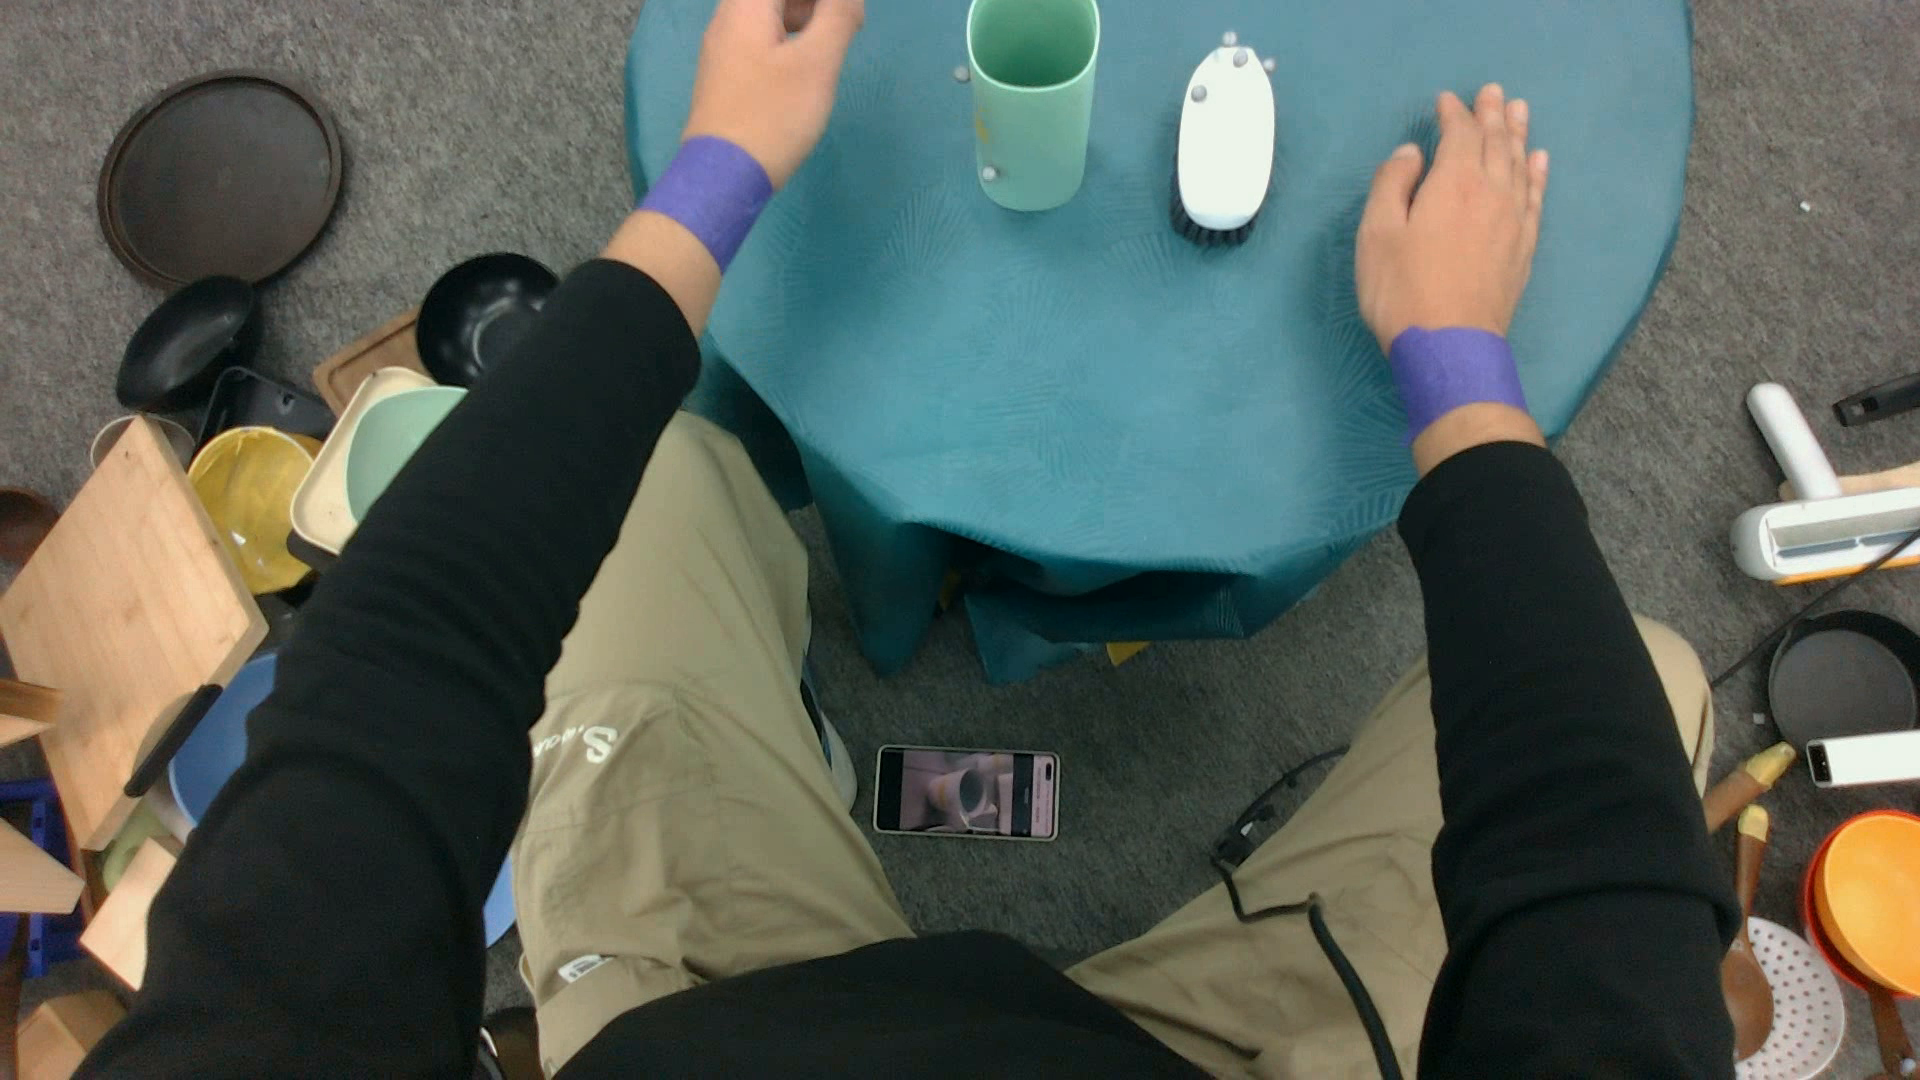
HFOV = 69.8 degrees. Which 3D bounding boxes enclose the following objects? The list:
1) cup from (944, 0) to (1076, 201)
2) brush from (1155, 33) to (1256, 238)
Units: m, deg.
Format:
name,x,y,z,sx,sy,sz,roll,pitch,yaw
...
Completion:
name,x,y,z,sx,sy,sz,roll,pitch,yaw
cup,0.027,-0.233,0.715,0.067,0.132,0.067,0,78,1
brush,0.133,-0.222,0.735,0.050,0.072,0.099,6,78,4
